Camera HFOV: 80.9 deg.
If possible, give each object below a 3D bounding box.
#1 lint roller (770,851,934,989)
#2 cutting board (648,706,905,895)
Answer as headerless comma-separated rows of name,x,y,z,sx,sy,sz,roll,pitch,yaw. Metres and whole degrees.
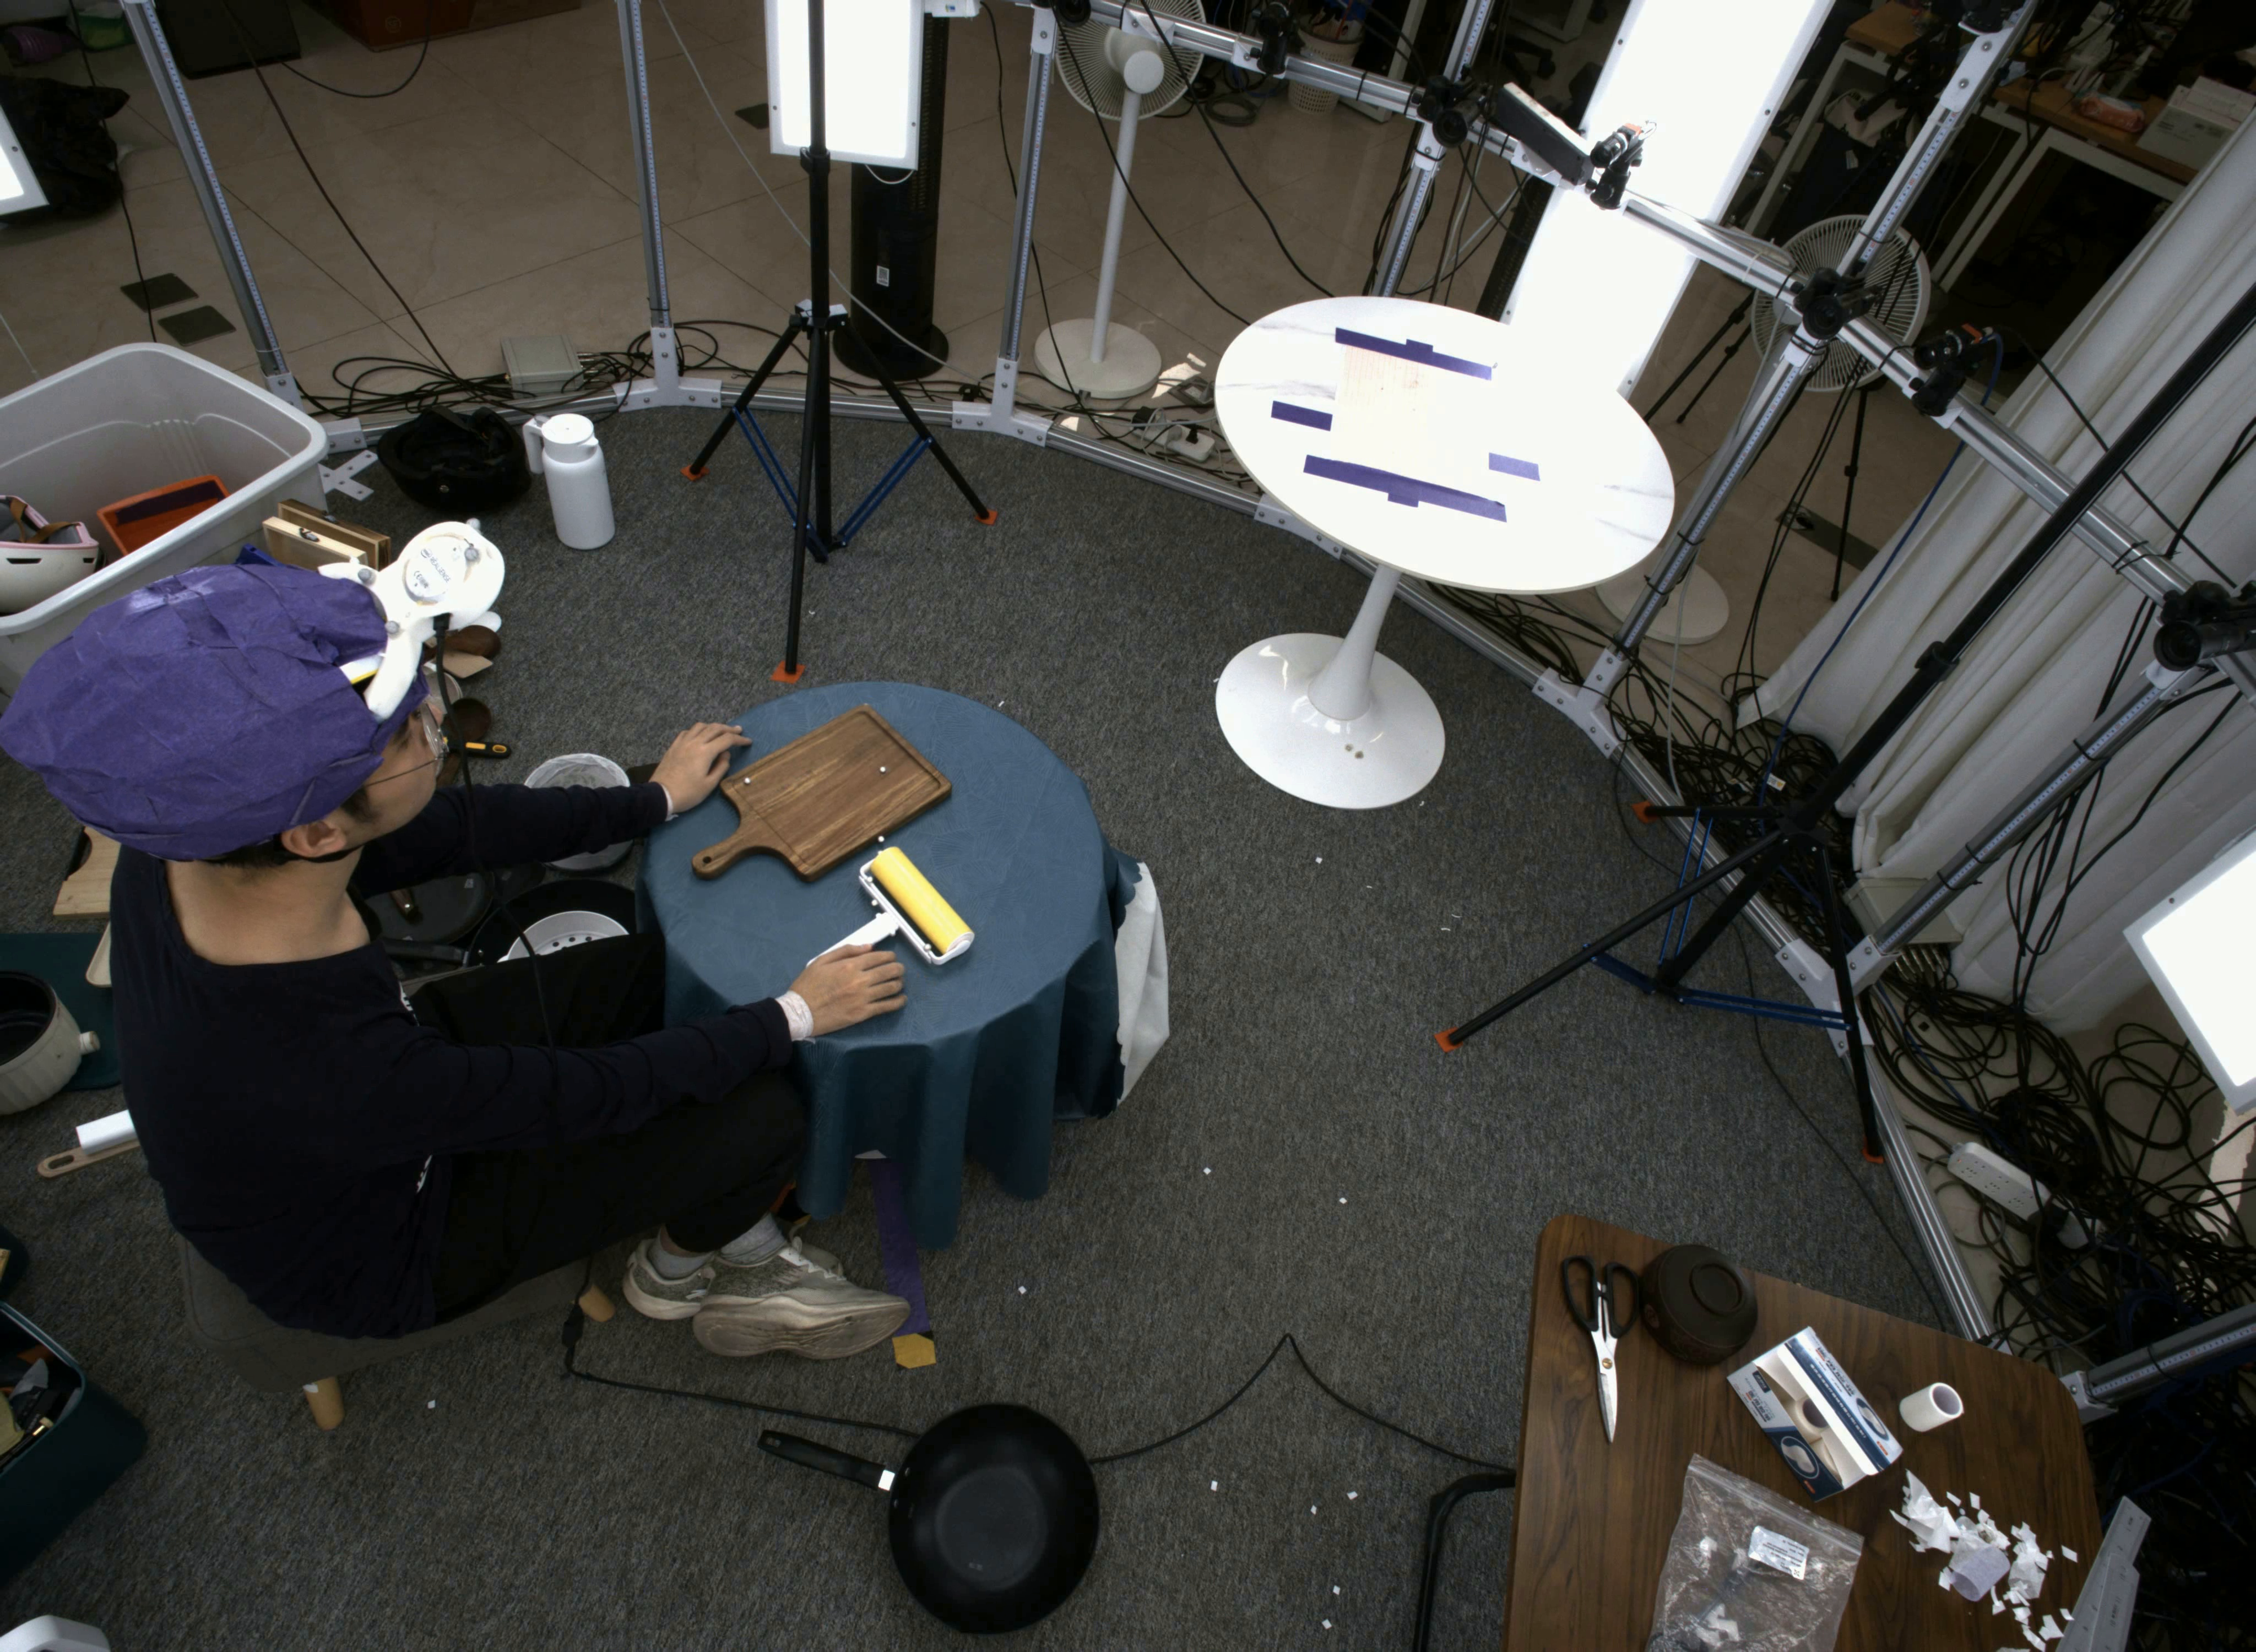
lint roller,-0.366,0.133,1.619,0.170,0.052,0.192,41,52,18
cutting board,-0.489,-0.019,1.719,0.197,0.023,0.352,40,55,16
